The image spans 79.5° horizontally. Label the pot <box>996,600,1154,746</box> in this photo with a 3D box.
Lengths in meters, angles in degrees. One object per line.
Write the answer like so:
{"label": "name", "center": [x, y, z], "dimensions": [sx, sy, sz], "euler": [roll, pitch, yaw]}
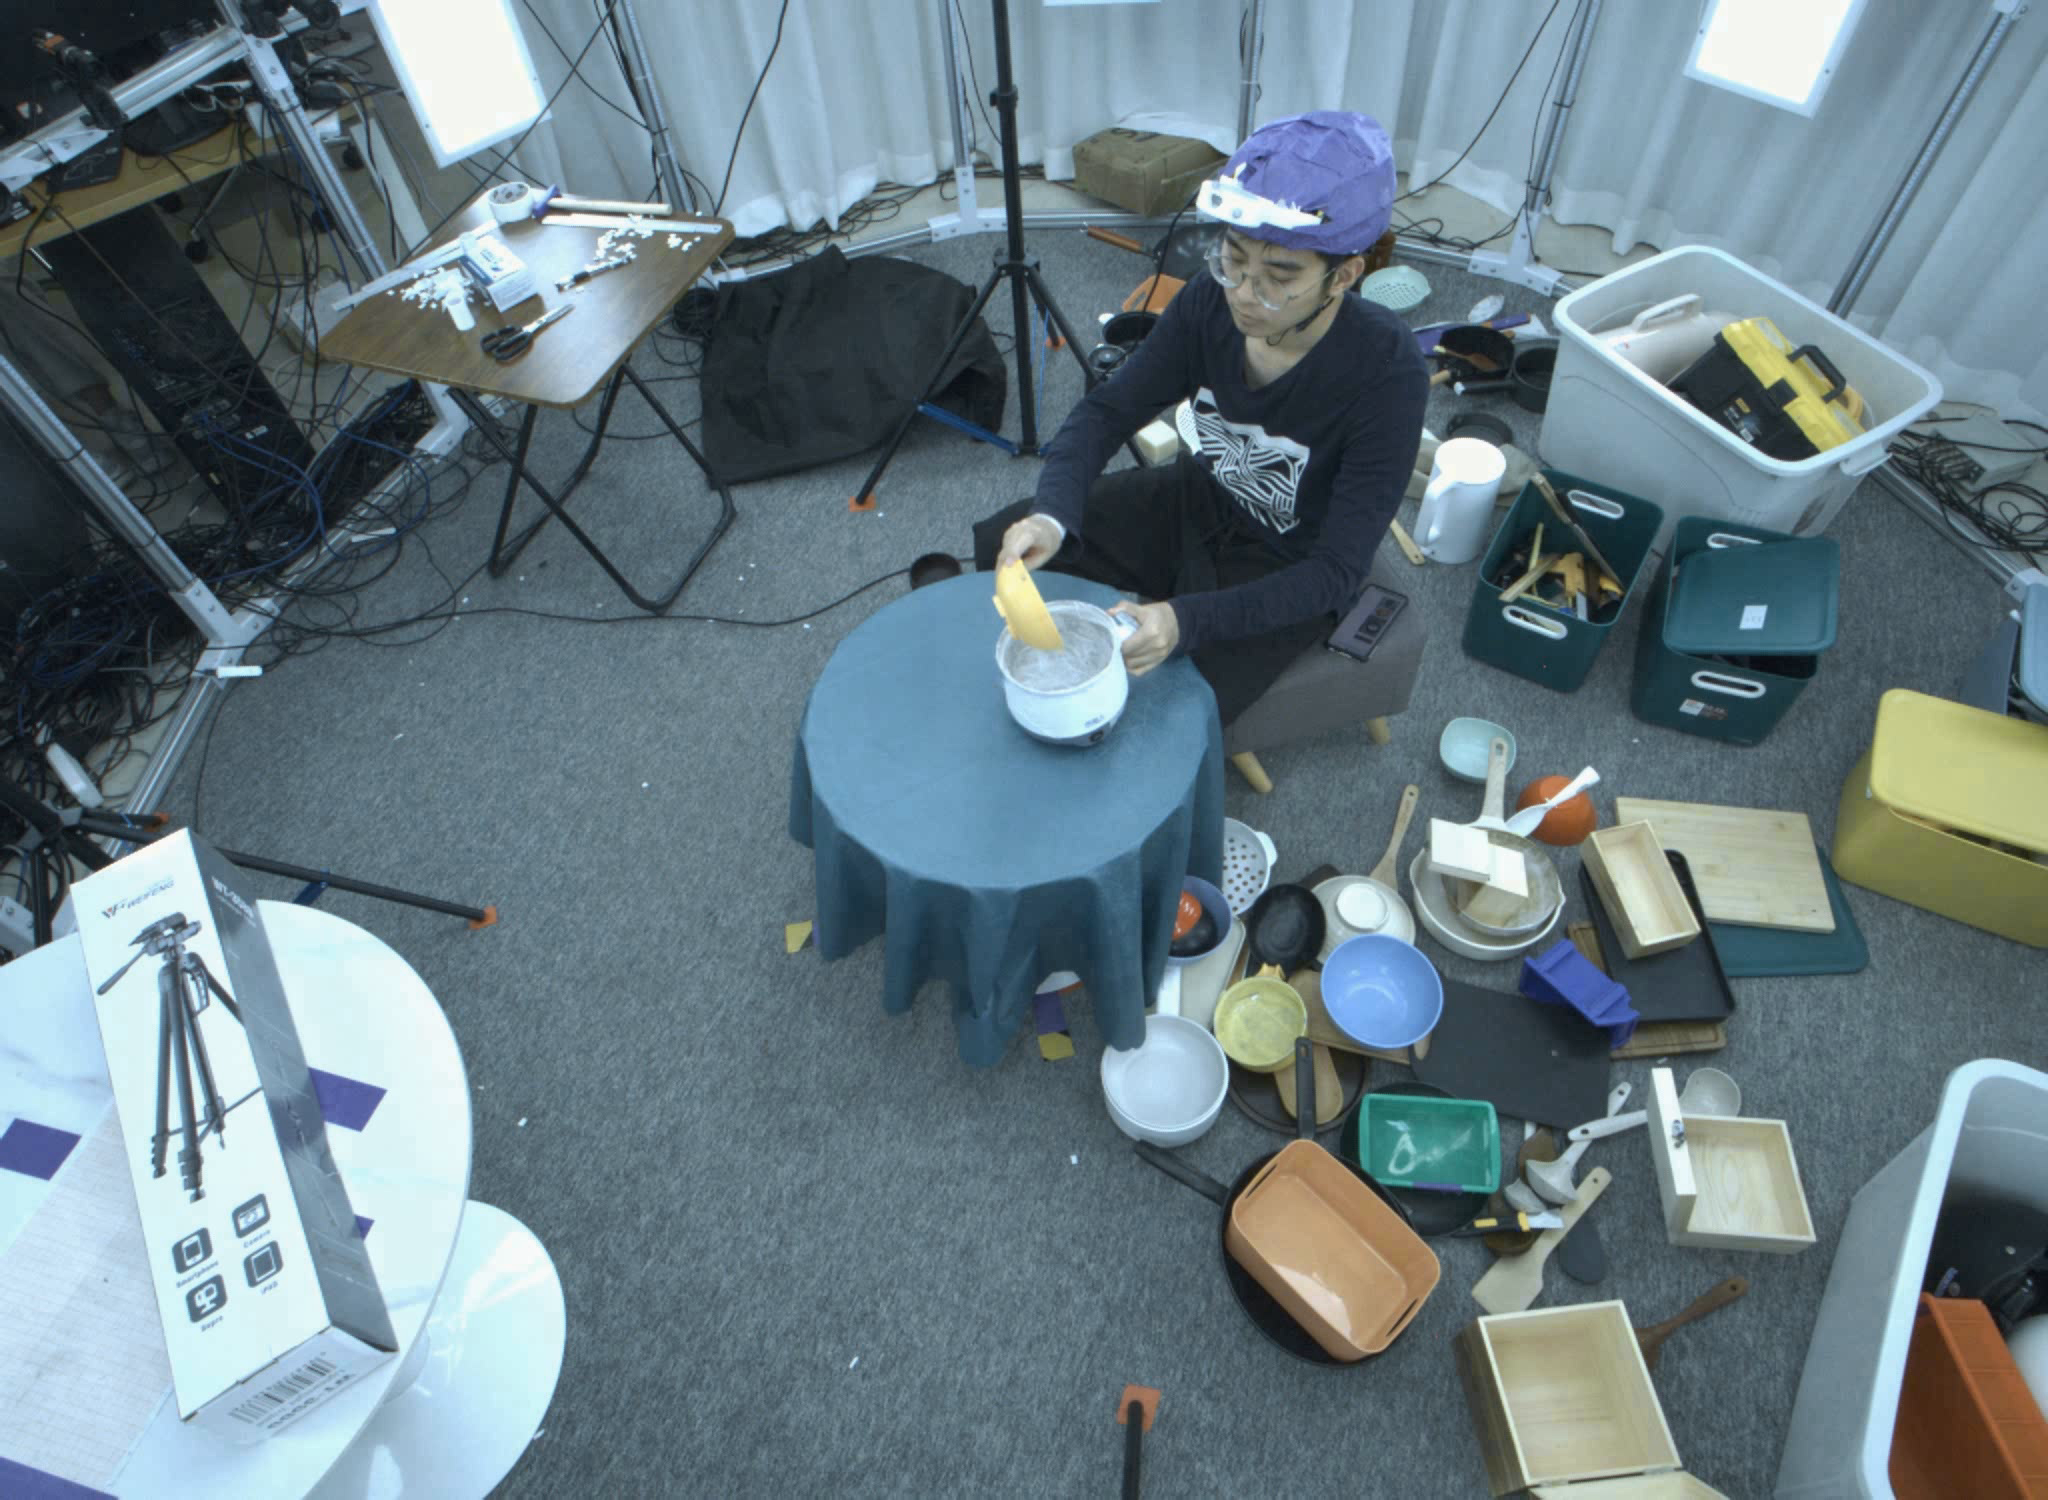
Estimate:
{"label": "pot", "center": [0.081, -0.121, 1.784], "dimensions": [0.235, 0.138, 0.175], "euler": [-28, 56, -12]}

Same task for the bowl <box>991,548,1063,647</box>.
{"label": "bowl", "center": [-0.004, -0.196, 1.665], "dimensions": [0.060, 0.148, 0.143], "euler": [-26, 56, 5]}
